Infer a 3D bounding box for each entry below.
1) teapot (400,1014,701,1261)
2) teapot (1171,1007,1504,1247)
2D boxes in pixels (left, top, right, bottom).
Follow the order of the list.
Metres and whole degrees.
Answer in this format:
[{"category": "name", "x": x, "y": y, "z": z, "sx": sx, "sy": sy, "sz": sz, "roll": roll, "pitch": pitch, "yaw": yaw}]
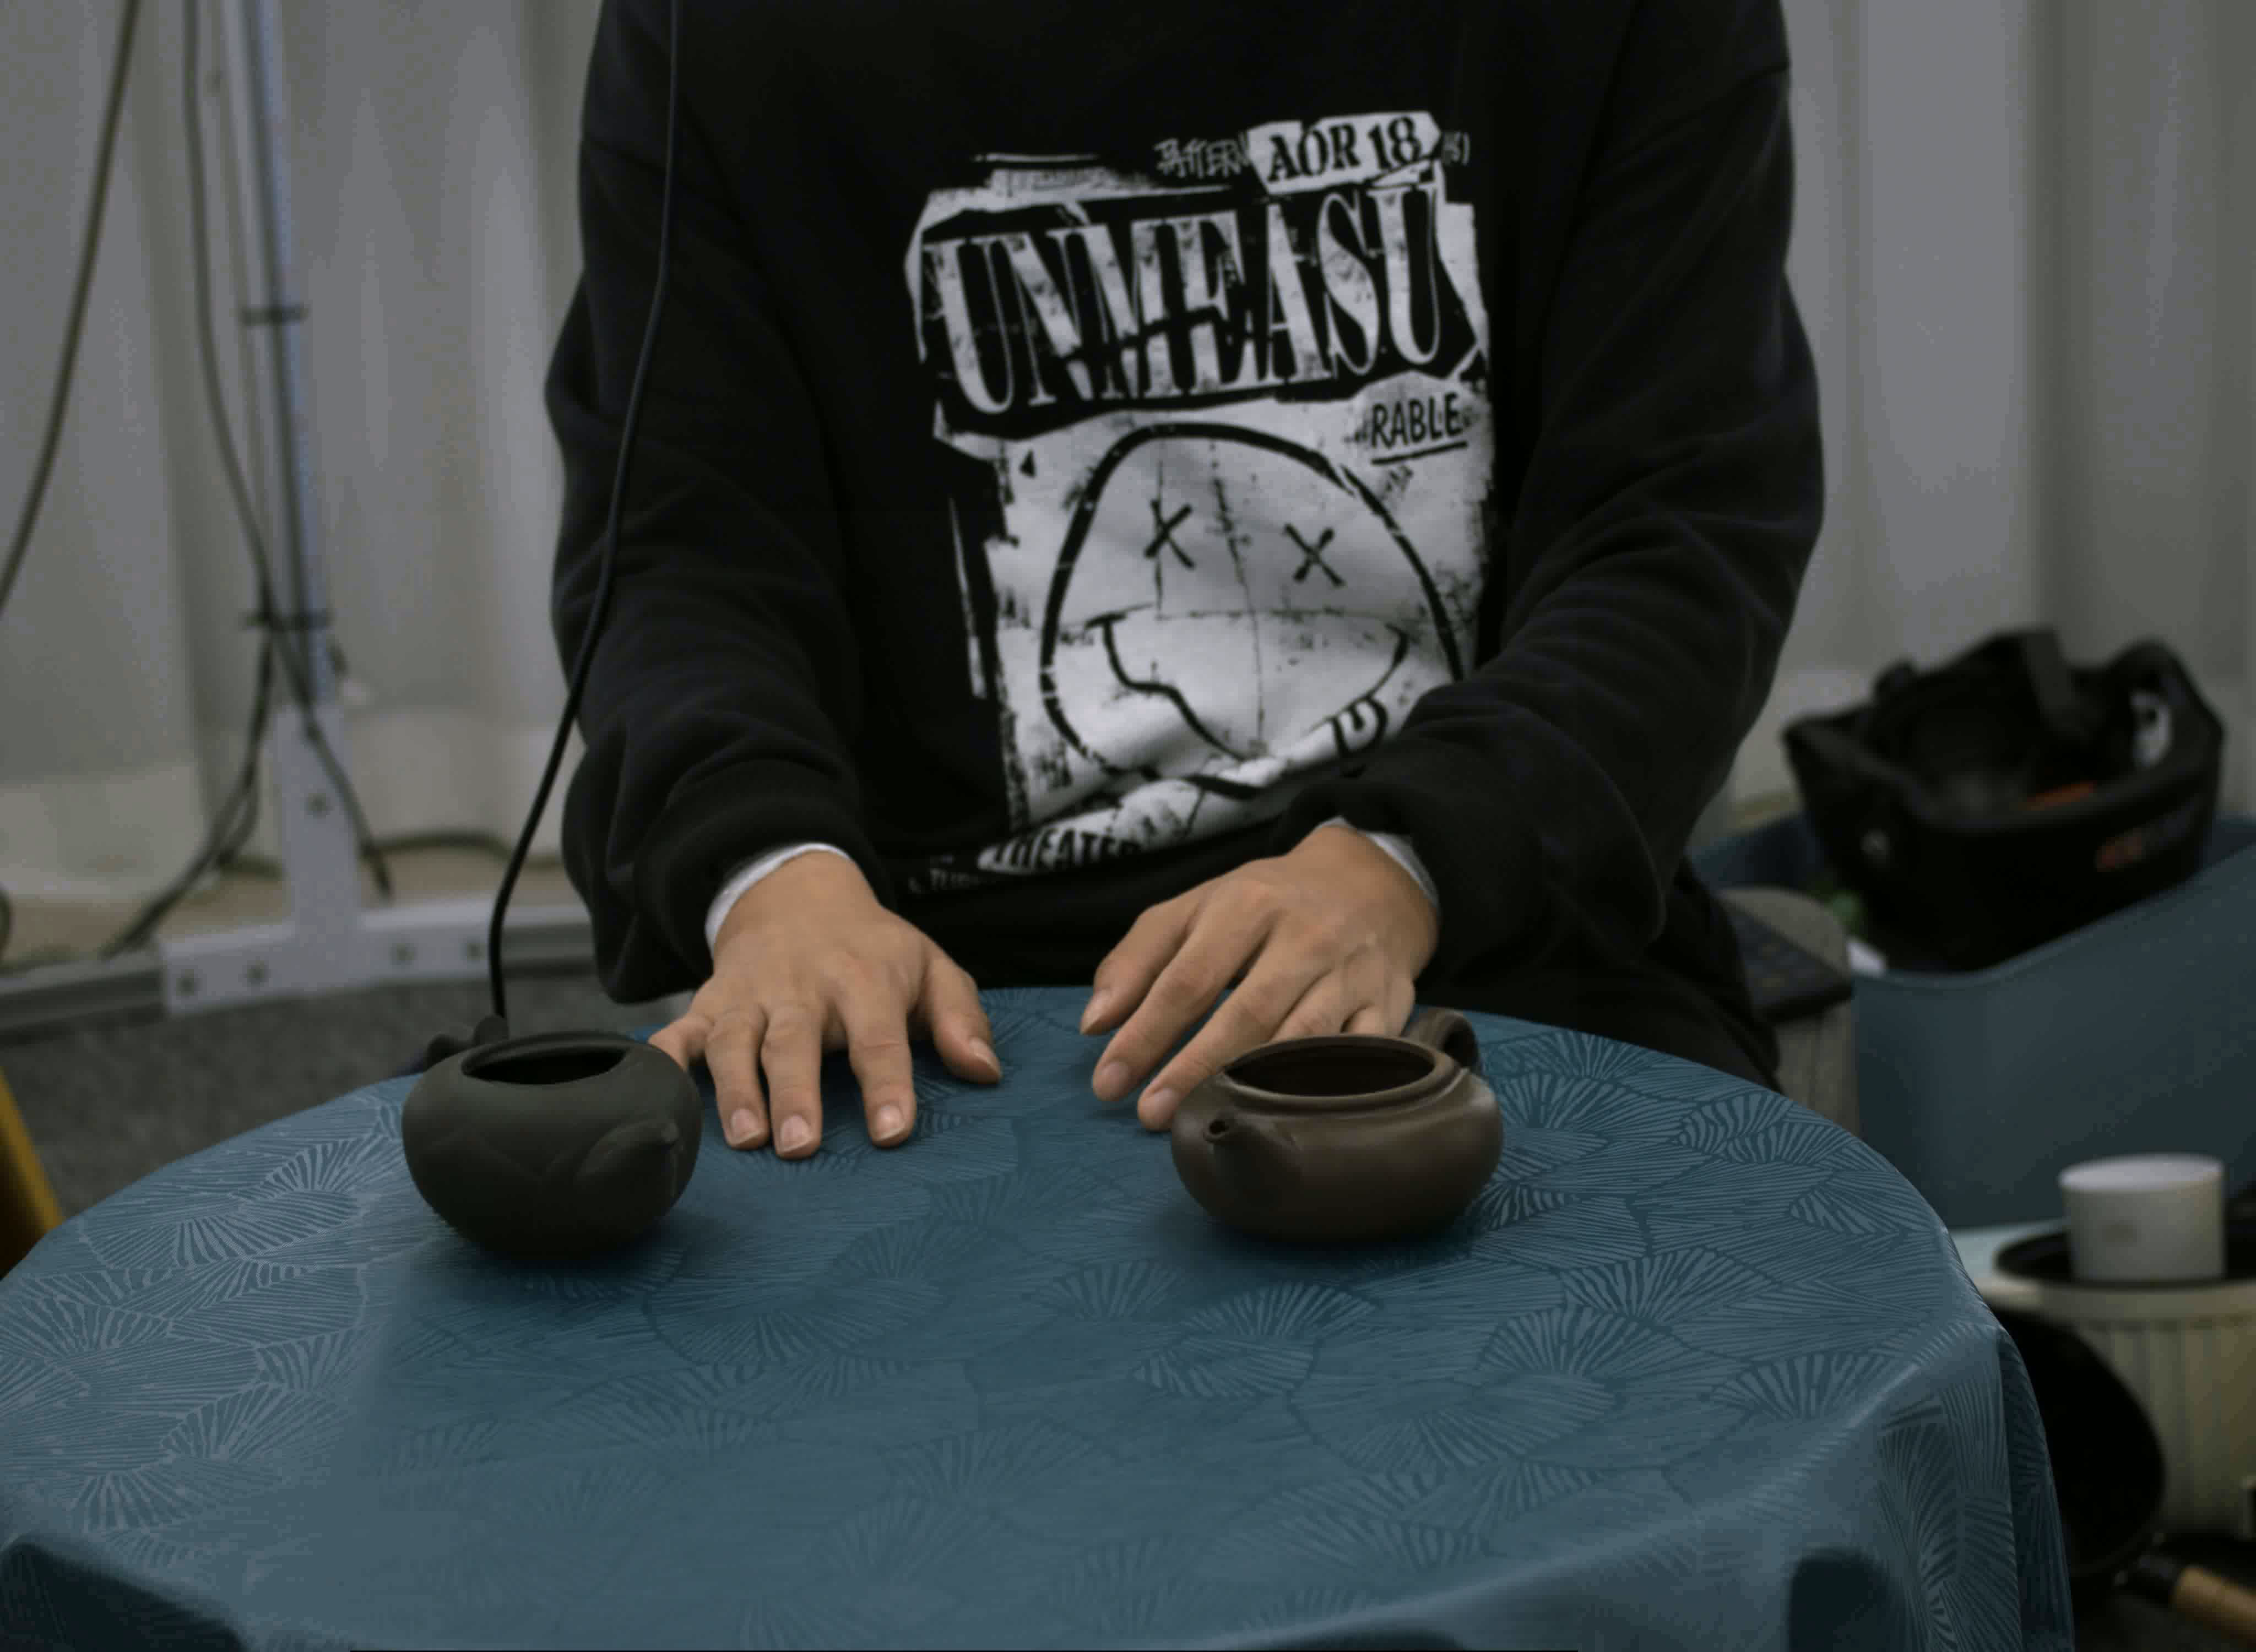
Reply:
[{"category": "teapot", "x": -0.180, "y": 0.097, "z": 1.694, "sx": 0.092, "sy": 0.064, "sz": 0.155, "roll": -9, "pitch": 16, "yaw": -32}, {"category": "teapot", "x": 0.066, "y": 0.093, "z": 1.678, "sx": 0.103, "sy": 0.053, "sz": 0.154, "roll": 7, "pitch": 18, "yaw": 26}]
